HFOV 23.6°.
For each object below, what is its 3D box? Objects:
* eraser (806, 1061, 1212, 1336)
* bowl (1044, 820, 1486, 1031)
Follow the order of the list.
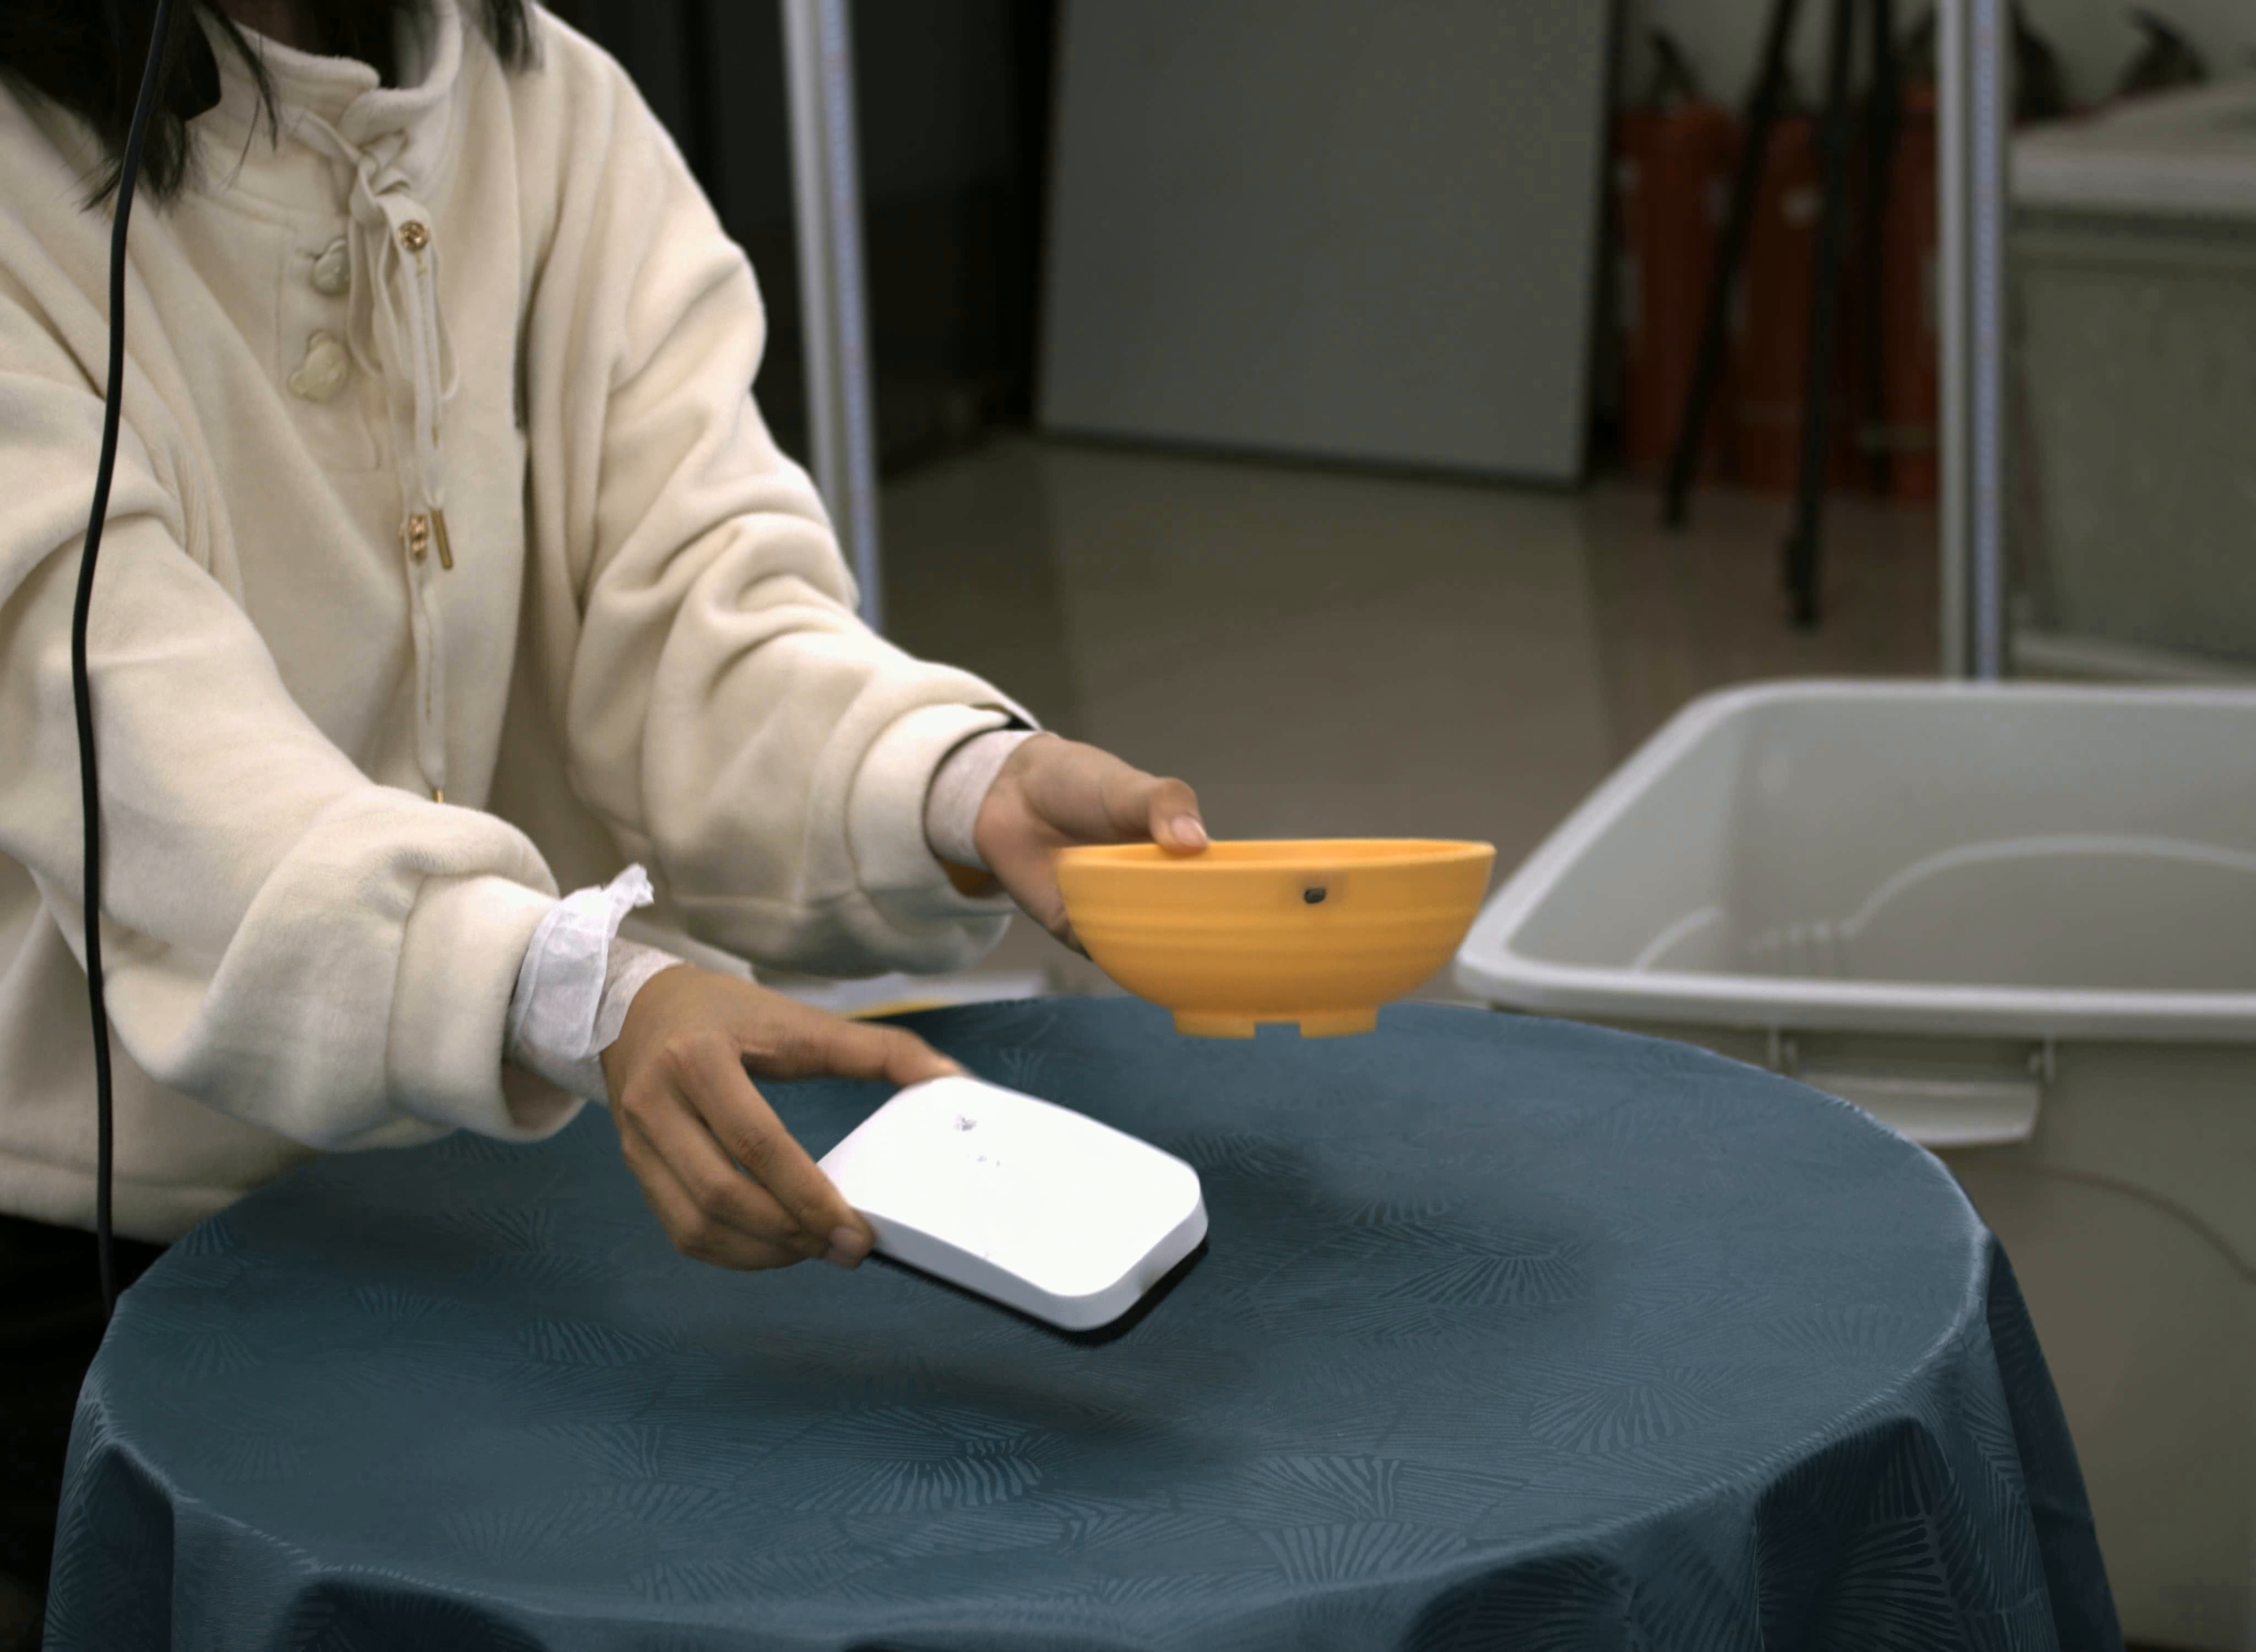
[{"bbox_3d":[-0.034,0.106,1.582,0.132,0.034,0.063,17,51,45],"label":"eraser"},{"bbox_3d":[0.044,0.032,1.719,0.143,0.061,0.145,-1,3,-1],"label":"bowl"}]
